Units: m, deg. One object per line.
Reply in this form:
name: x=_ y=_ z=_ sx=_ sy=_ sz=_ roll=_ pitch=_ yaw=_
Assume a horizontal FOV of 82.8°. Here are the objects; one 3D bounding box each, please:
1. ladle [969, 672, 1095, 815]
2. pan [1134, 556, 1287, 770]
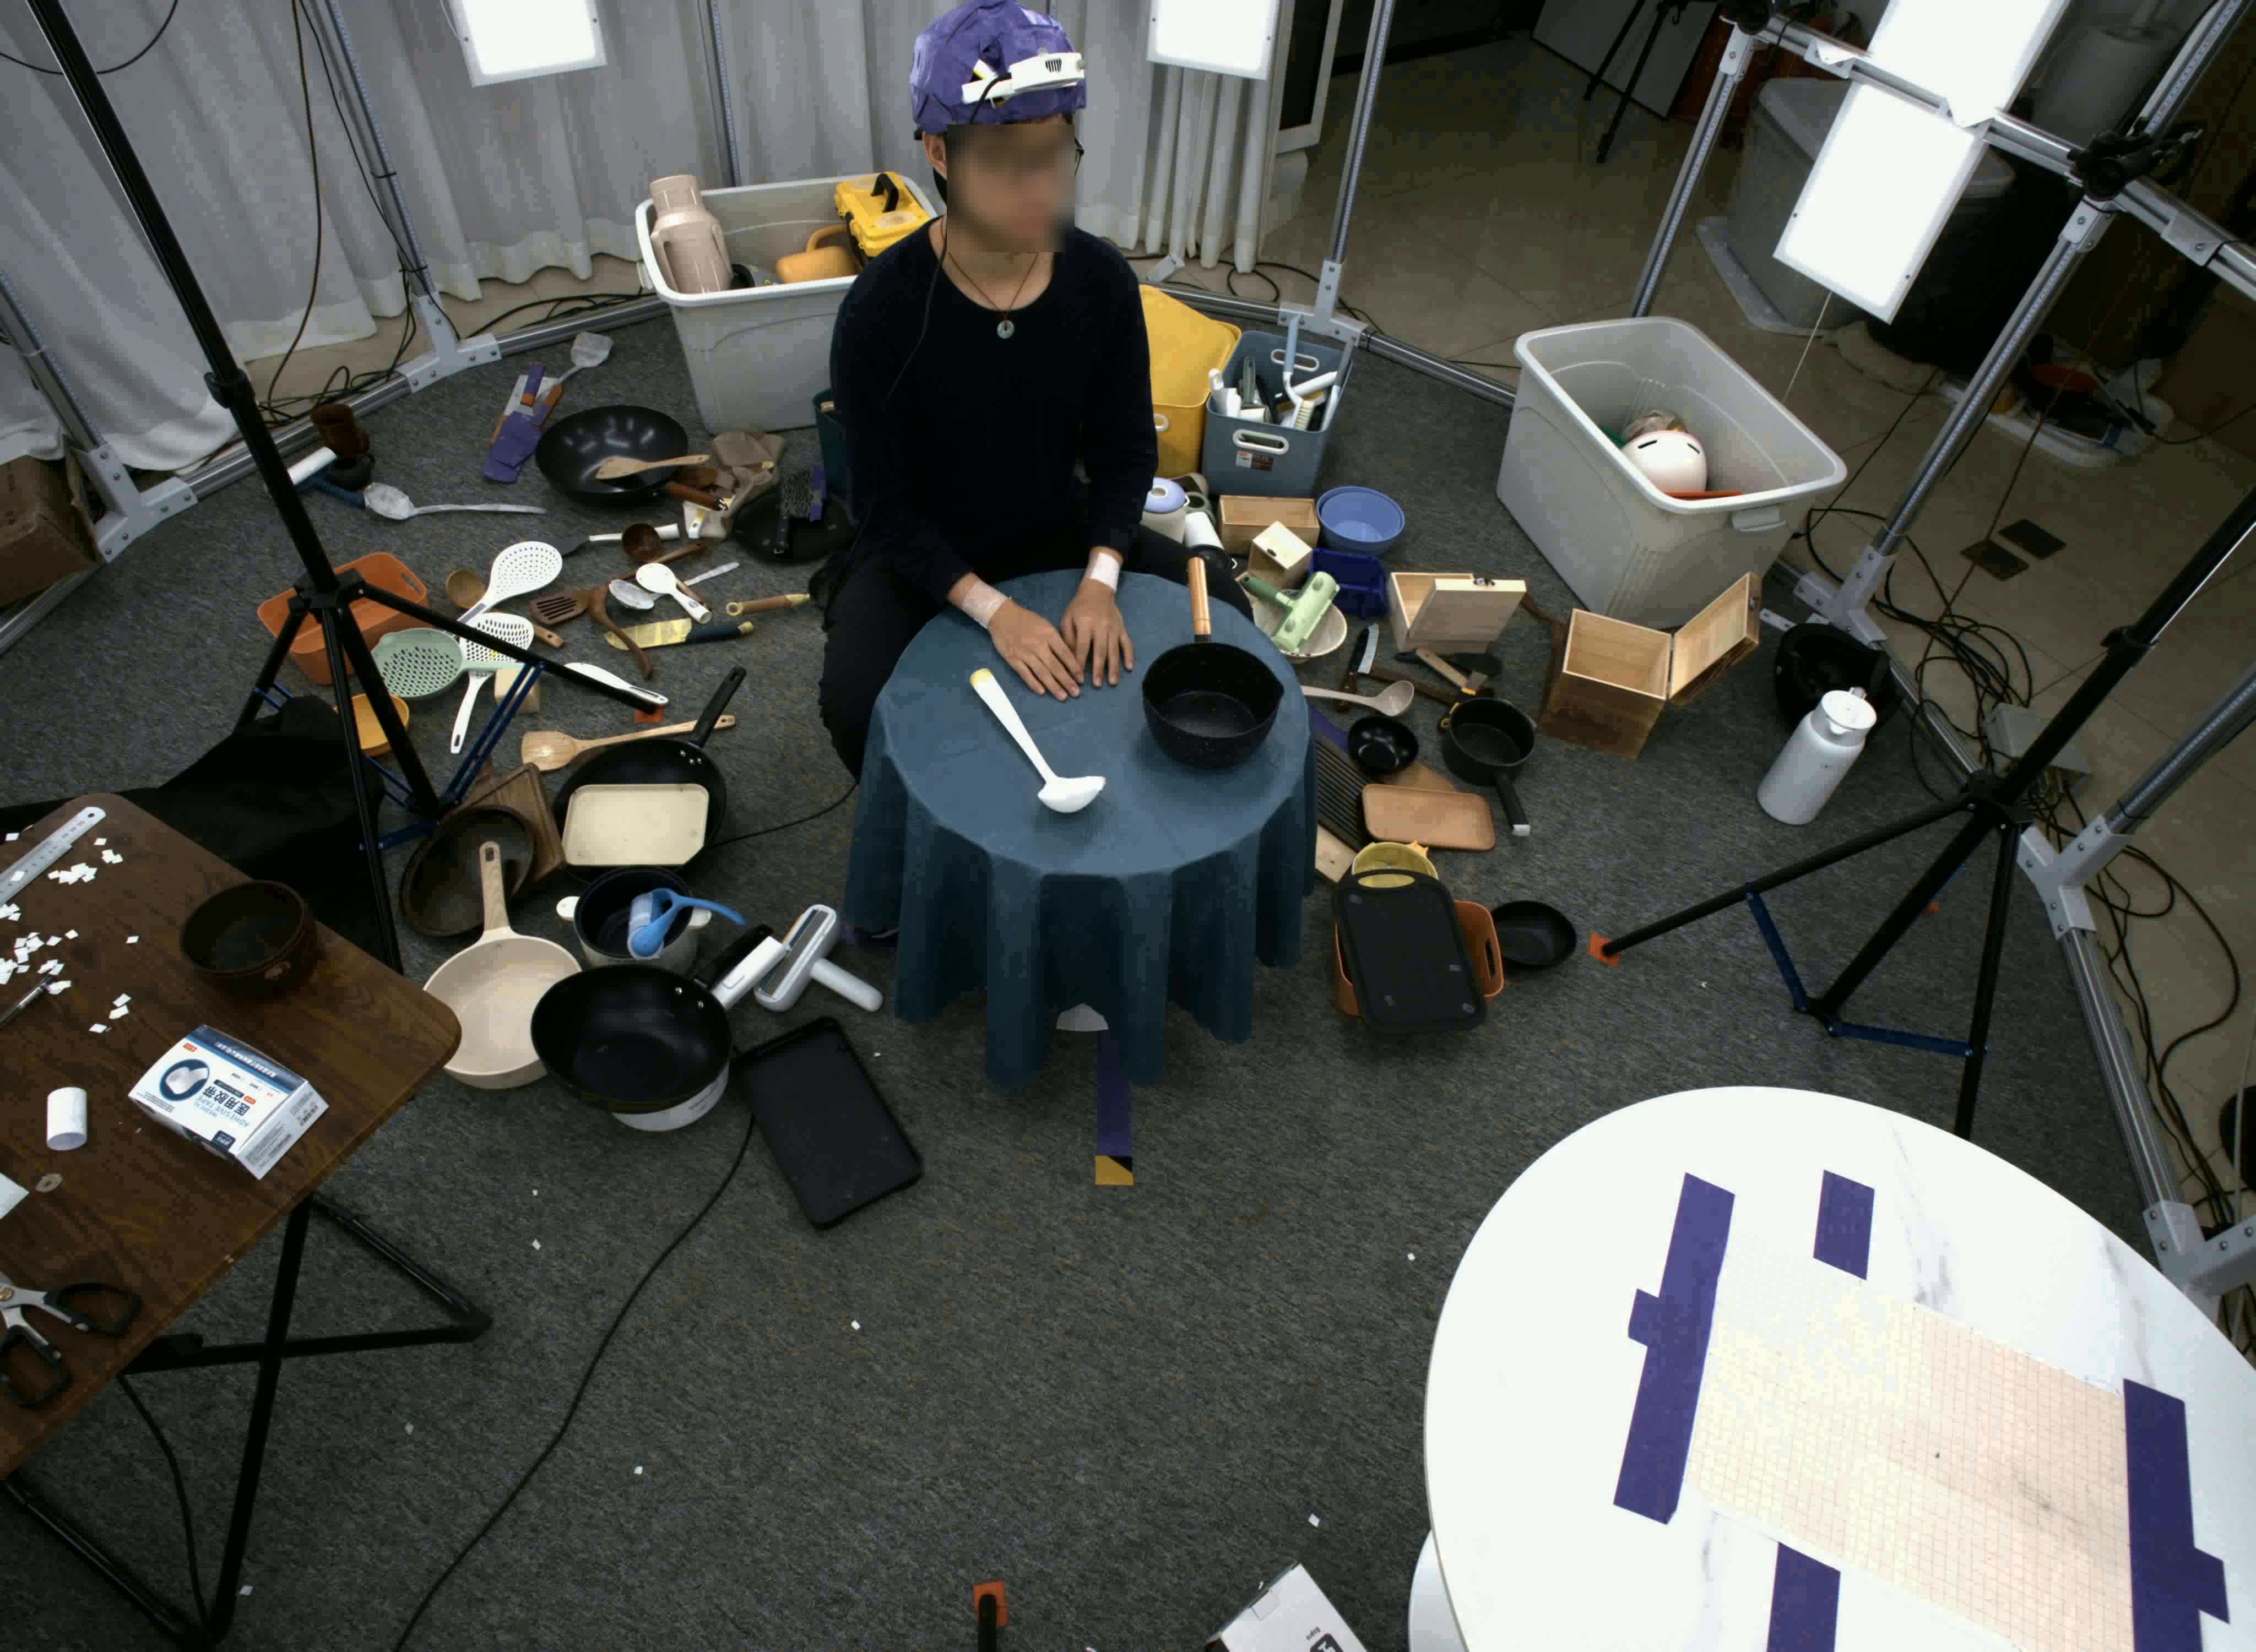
ladle: x=-0.140 y=-0.119 z=1.721 sx=0.090 sy=0.068 sz=0.299 roll=-23 pitch=53 yaw=-17
pan: x=0.105 y=-0.230 z=1.805 sx=0.207 sy=0.105 sz=0.351 roll=-2 pitch=51 yaw=-5
